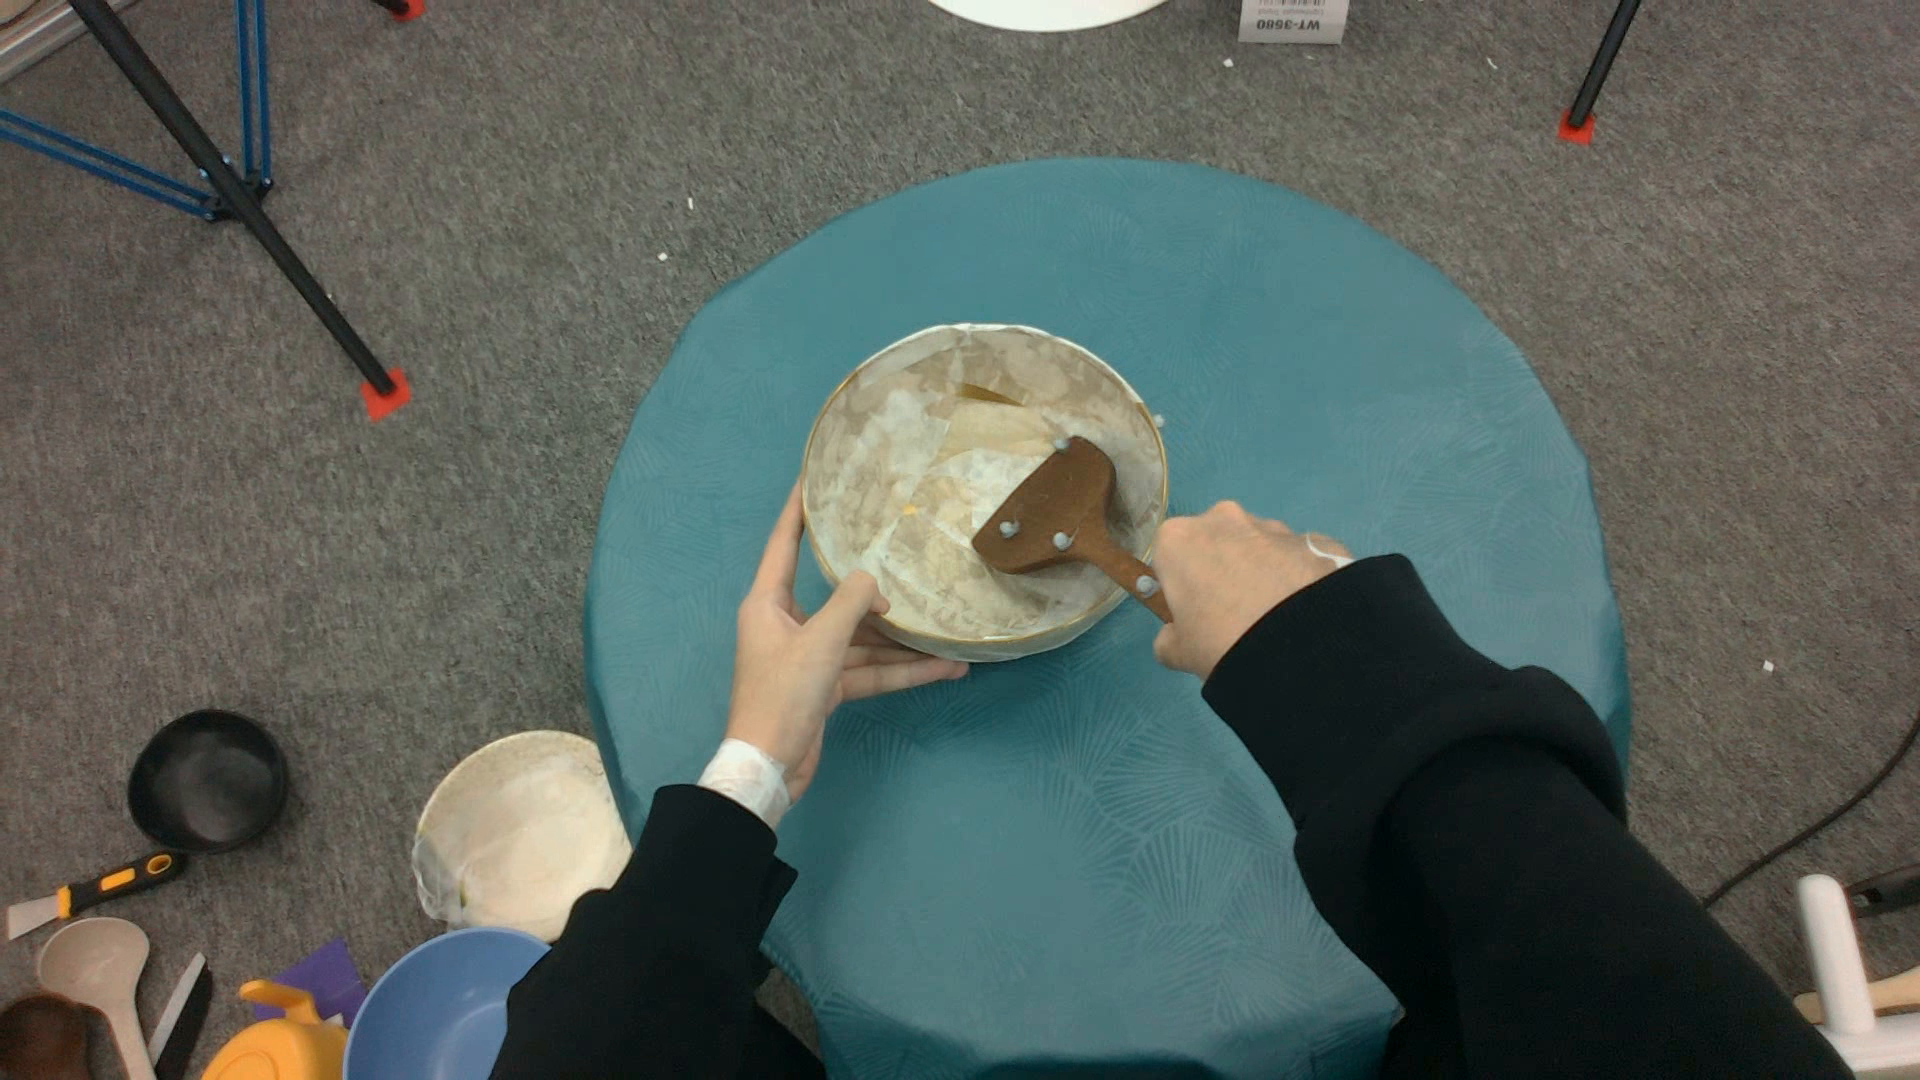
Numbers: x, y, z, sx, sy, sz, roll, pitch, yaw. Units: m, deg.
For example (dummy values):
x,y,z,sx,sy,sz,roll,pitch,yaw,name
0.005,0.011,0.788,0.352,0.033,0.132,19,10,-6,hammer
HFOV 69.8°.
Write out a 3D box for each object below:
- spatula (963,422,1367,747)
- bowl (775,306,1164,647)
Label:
x,y,z,sx,sy,sz,roll,pitch,yaw,name
0.083,0.013,0.650,0.096,0.386,0.016,-45,112,0,spatula
0.003,-0.021,0.776,0.215,0.094,0.215,1,63,-2,bowl
